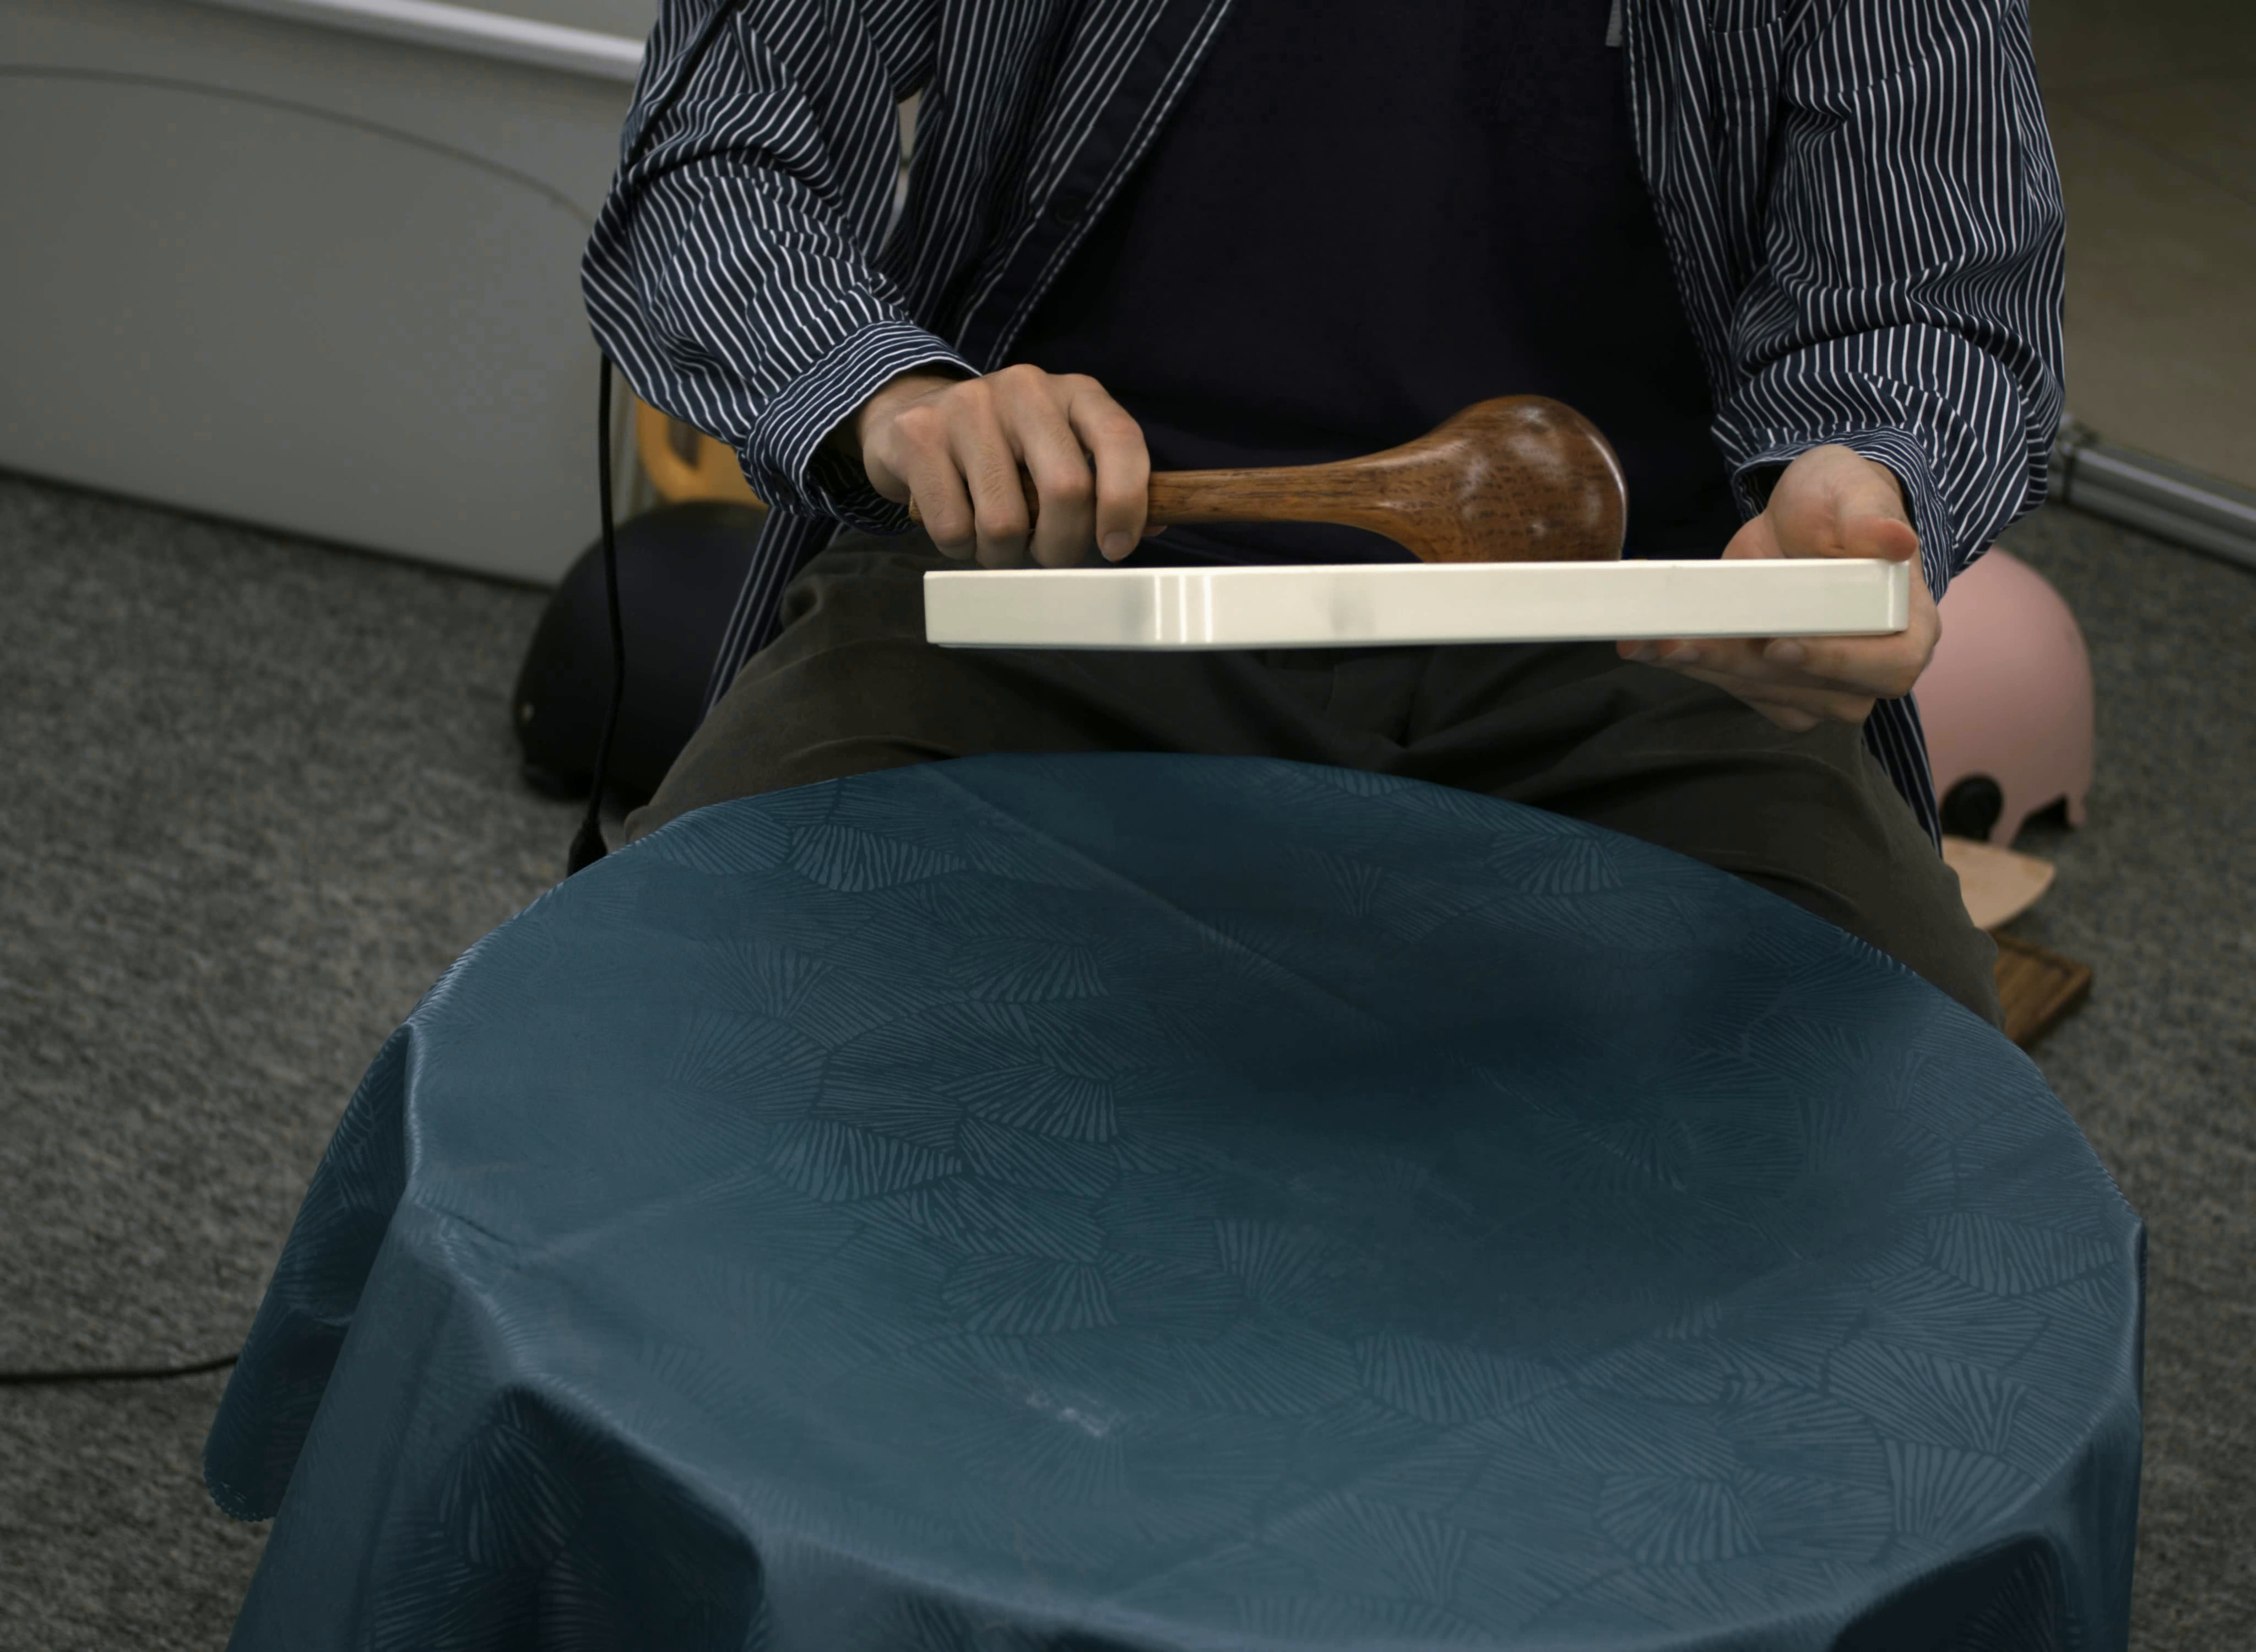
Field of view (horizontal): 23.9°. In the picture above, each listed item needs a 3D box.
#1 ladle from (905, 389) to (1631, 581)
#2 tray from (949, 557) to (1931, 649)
[{"bbox_3d":[0.051,-0.113,1.940,0.275,0.082,0.076,-2,-19,33],"label":"ladle"},{"bbox_3d":[0.107,-0.077,1.840,0.298,0.027,0.192,-2,2,-27],"label":"tray"}]
